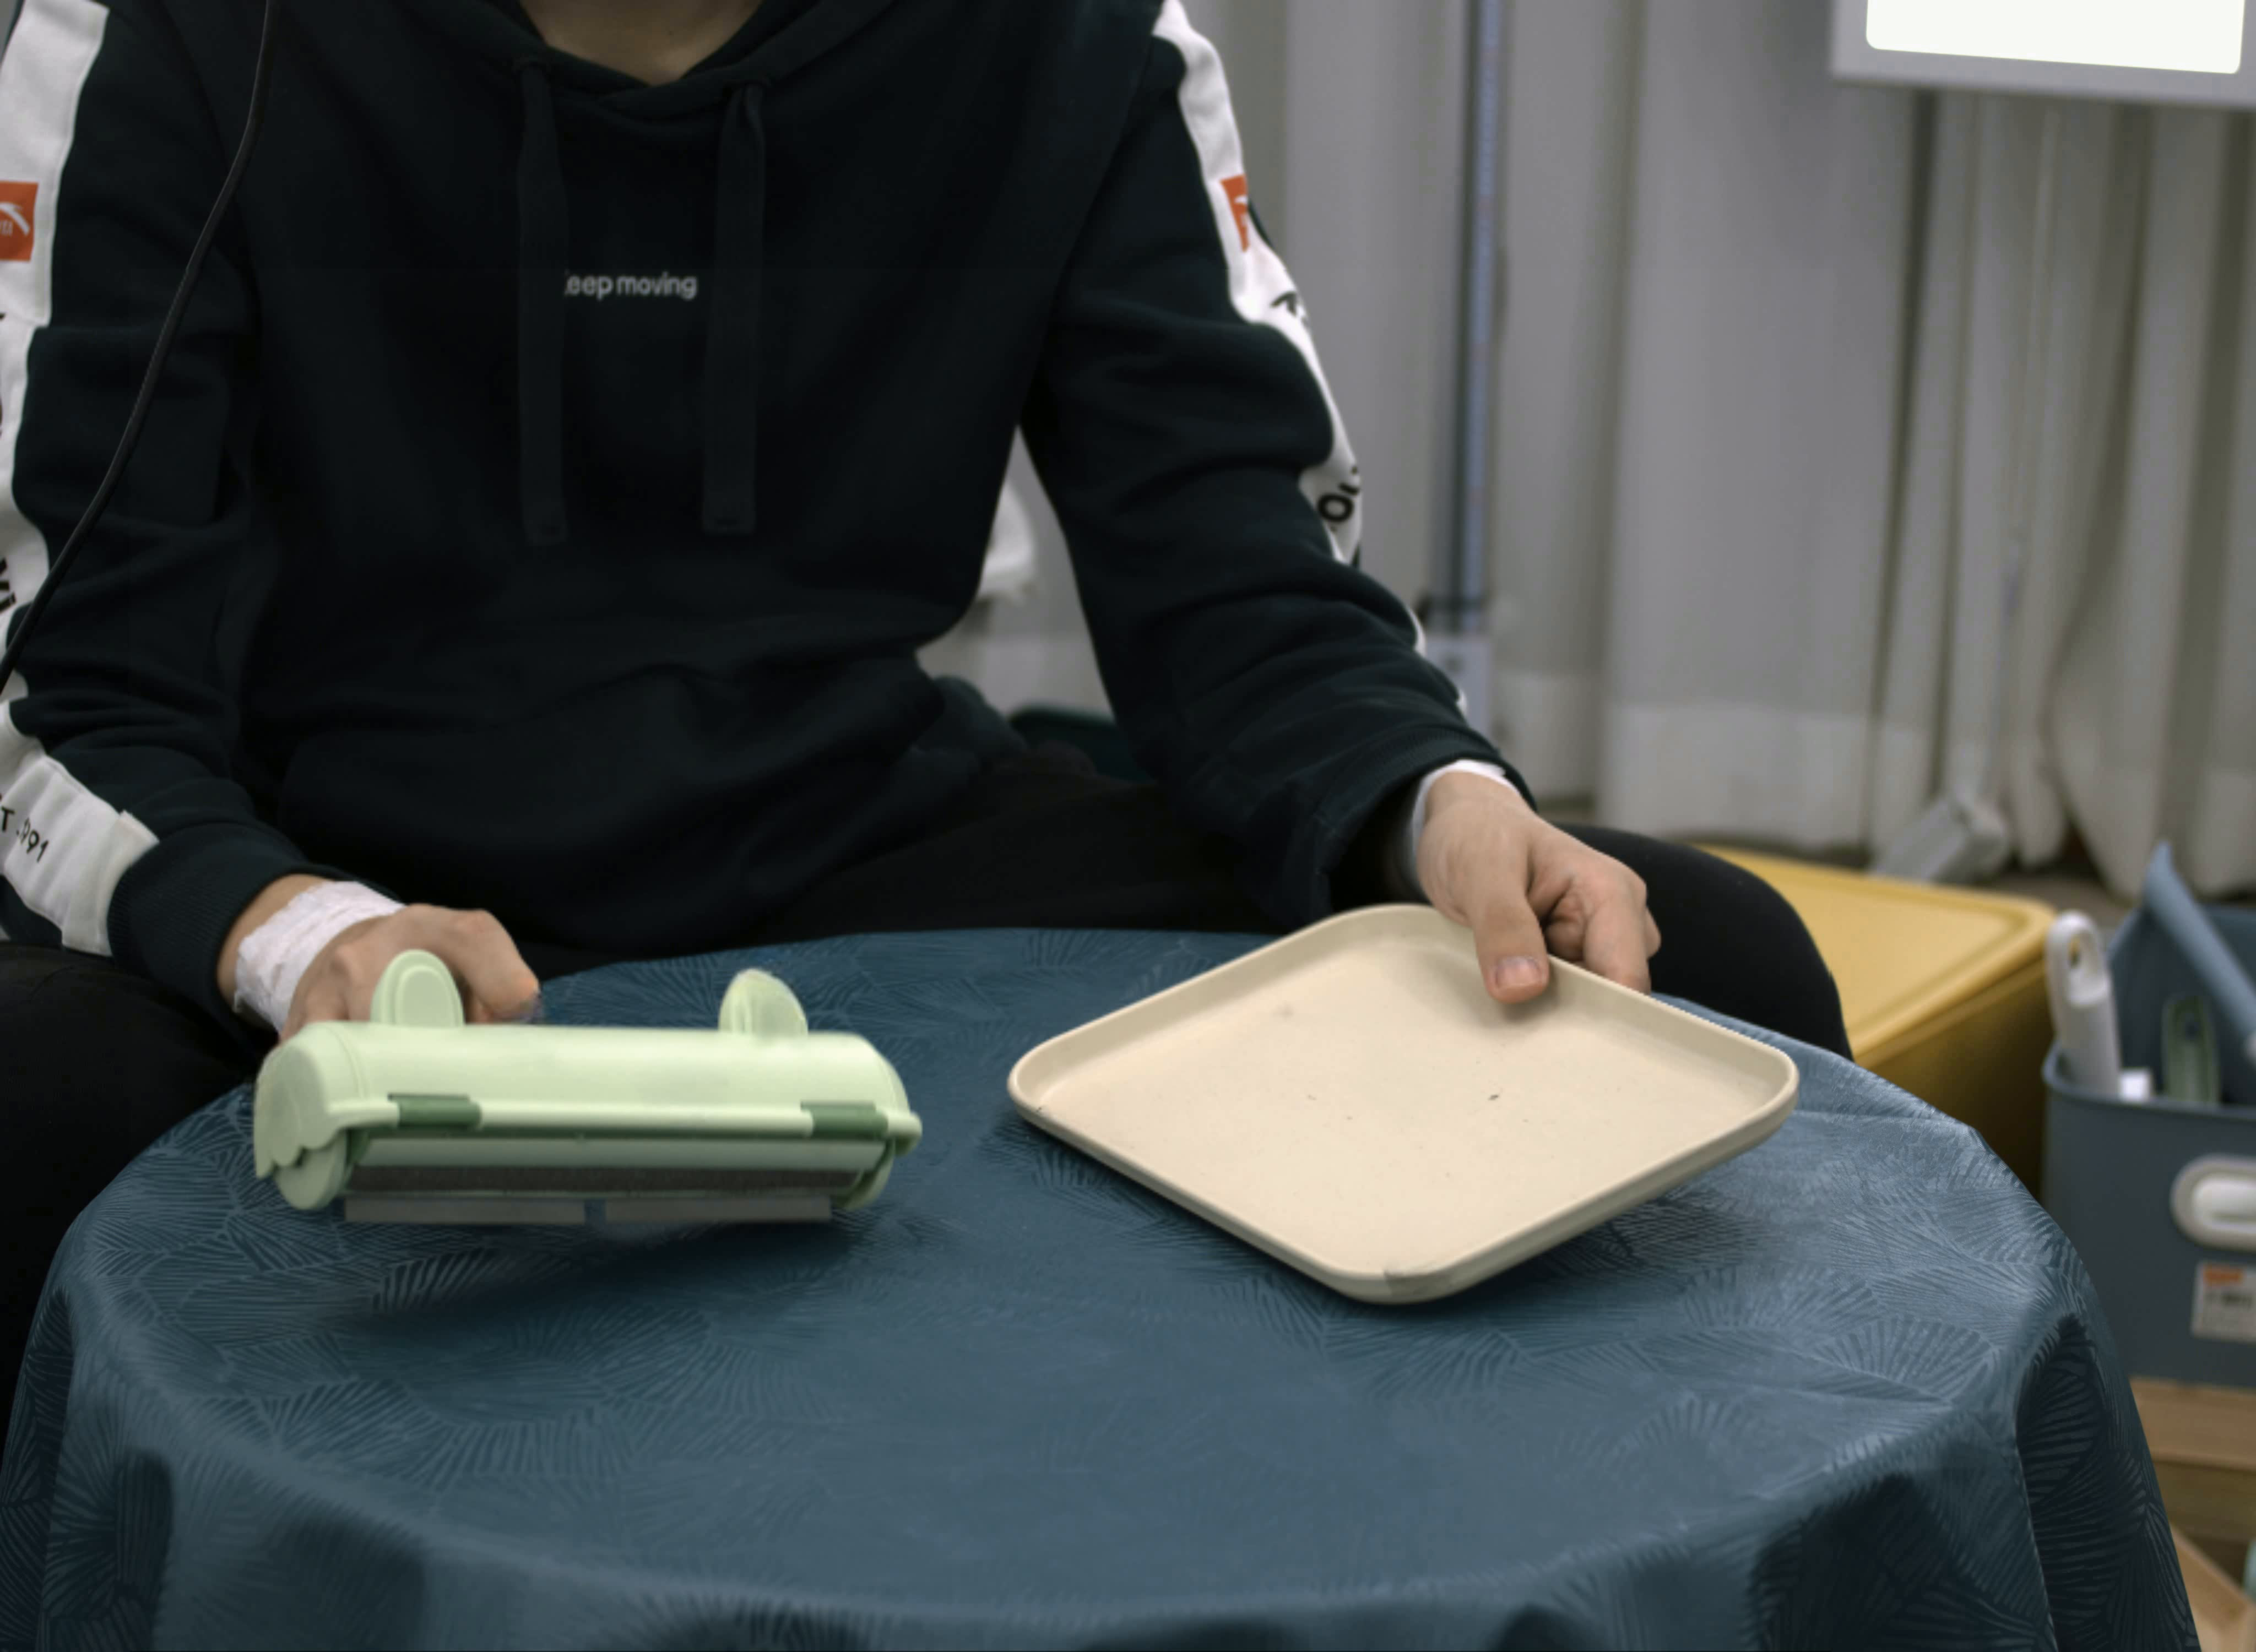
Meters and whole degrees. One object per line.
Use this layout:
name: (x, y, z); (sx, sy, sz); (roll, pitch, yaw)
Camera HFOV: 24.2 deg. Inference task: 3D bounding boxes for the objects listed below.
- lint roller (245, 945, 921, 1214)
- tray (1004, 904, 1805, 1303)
lint roller: (-0.187, 0.065, 1.579); (0.200, 0.082, 0.181); (2, 12, -34)
tray: (0.083, 0.084, 1.632); (0.171, 0.017, 0.236); (-22, 25, -27)
